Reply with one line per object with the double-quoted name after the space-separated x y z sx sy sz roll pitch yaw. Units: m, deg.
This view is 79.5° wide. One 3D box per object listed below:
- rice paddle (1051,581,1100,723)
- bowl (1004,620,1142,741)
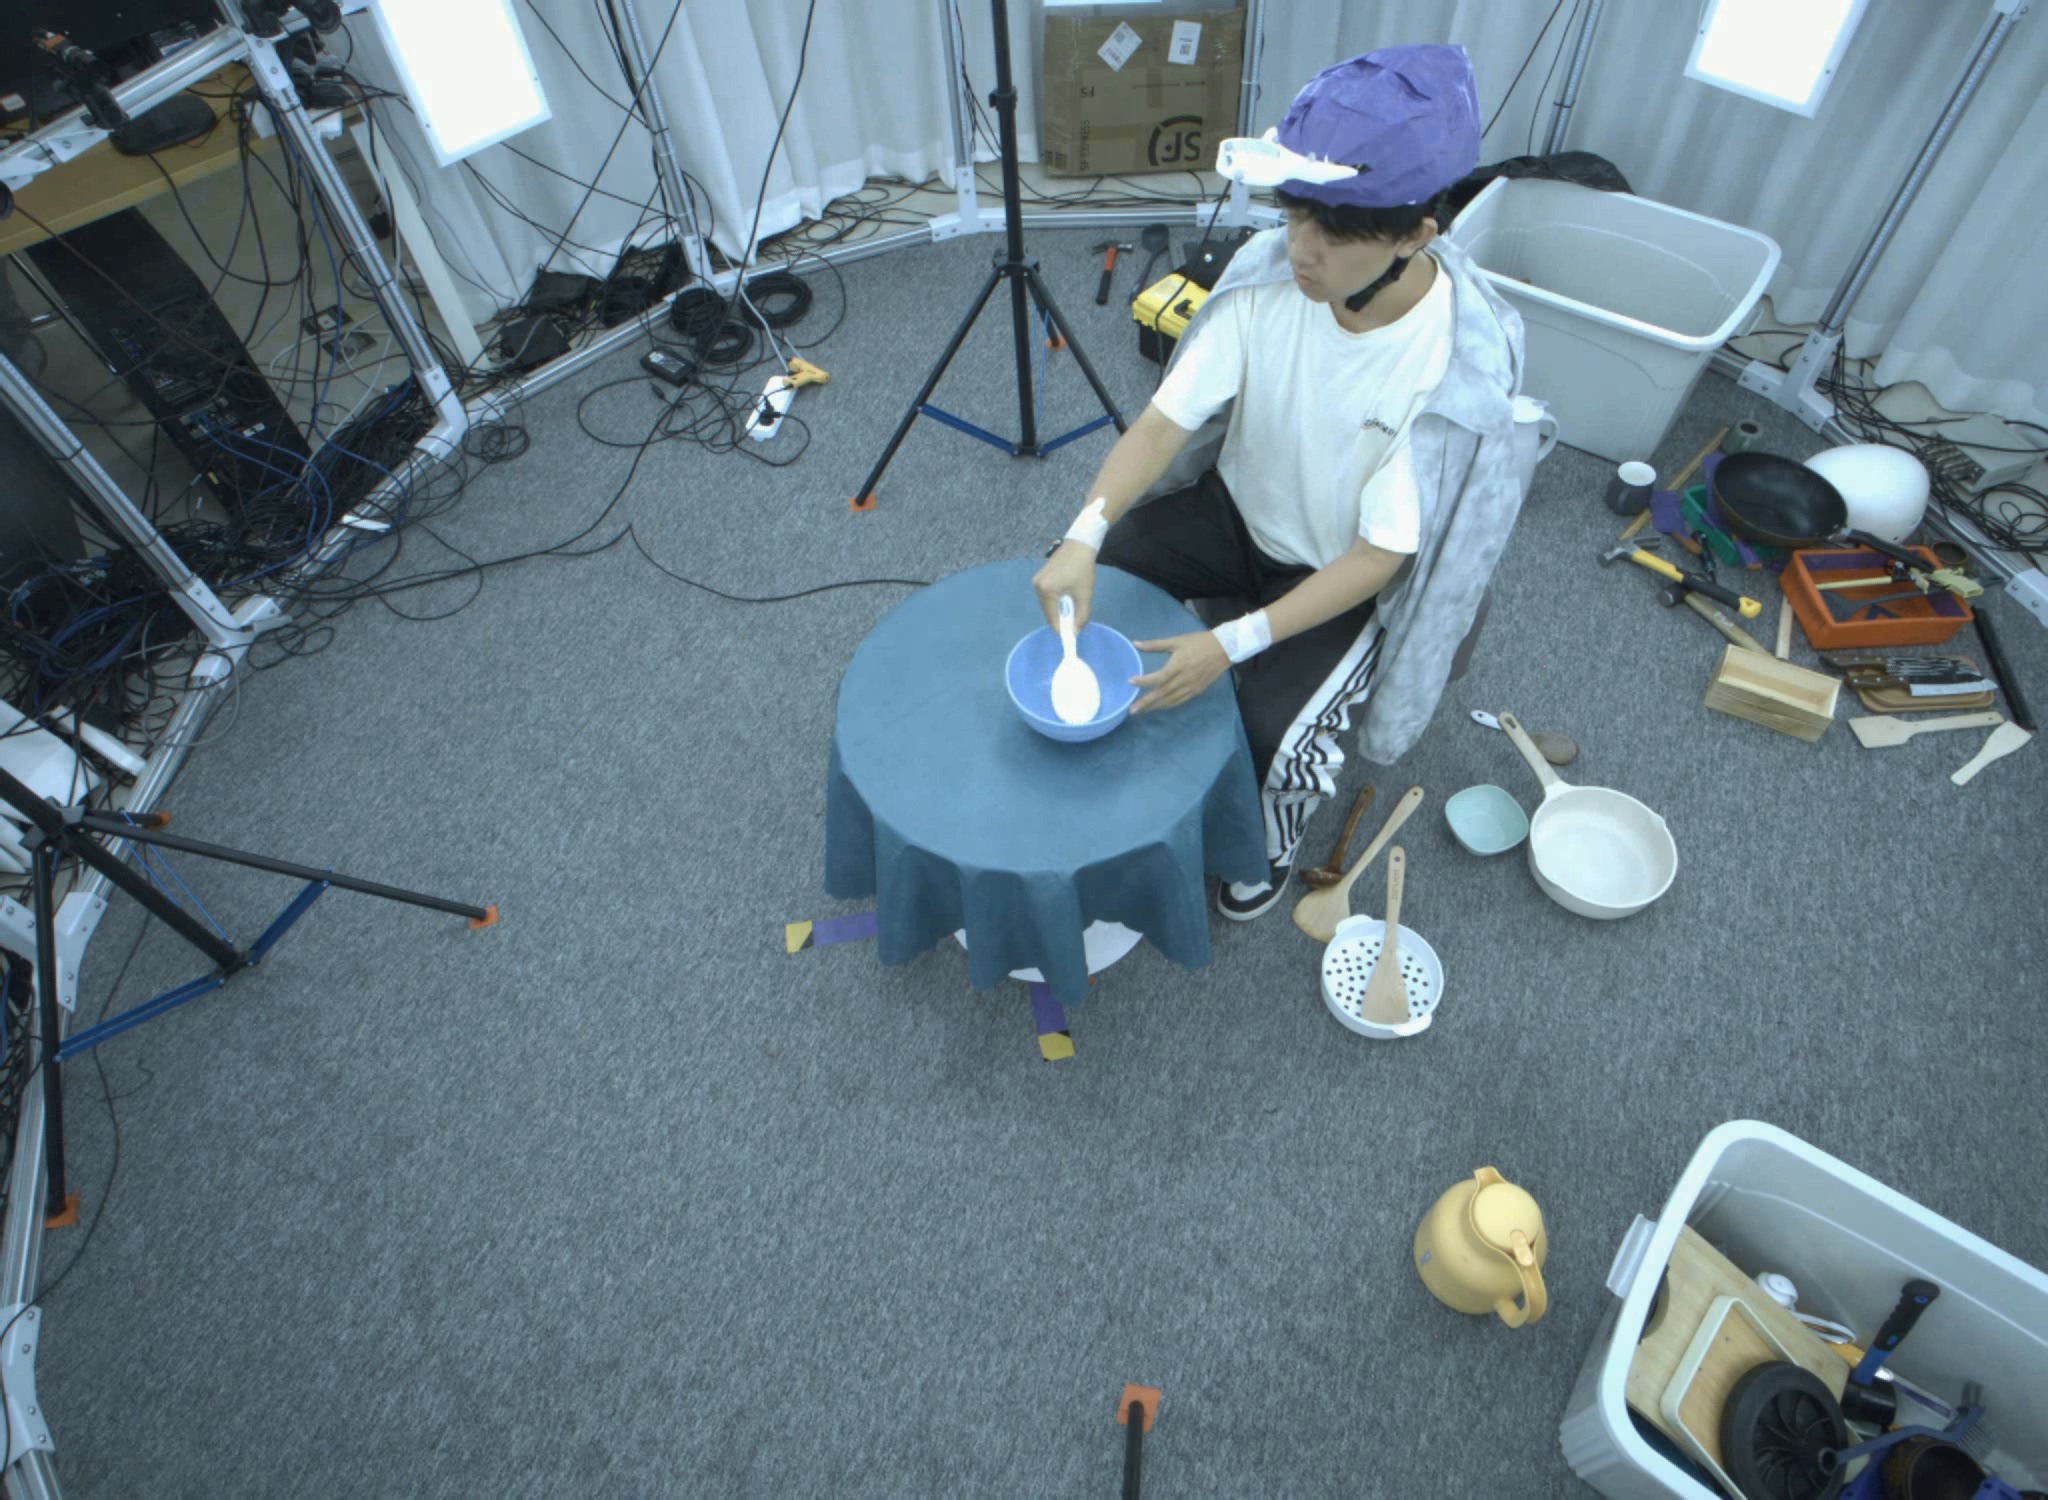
0.068 -0.140 1.771 0.068 0.029 0.205 -7 95 6 "rice paddle"
0.073 -0.086 1.789 0.196 0.096 0.194 -2 55 4 "bowl"
